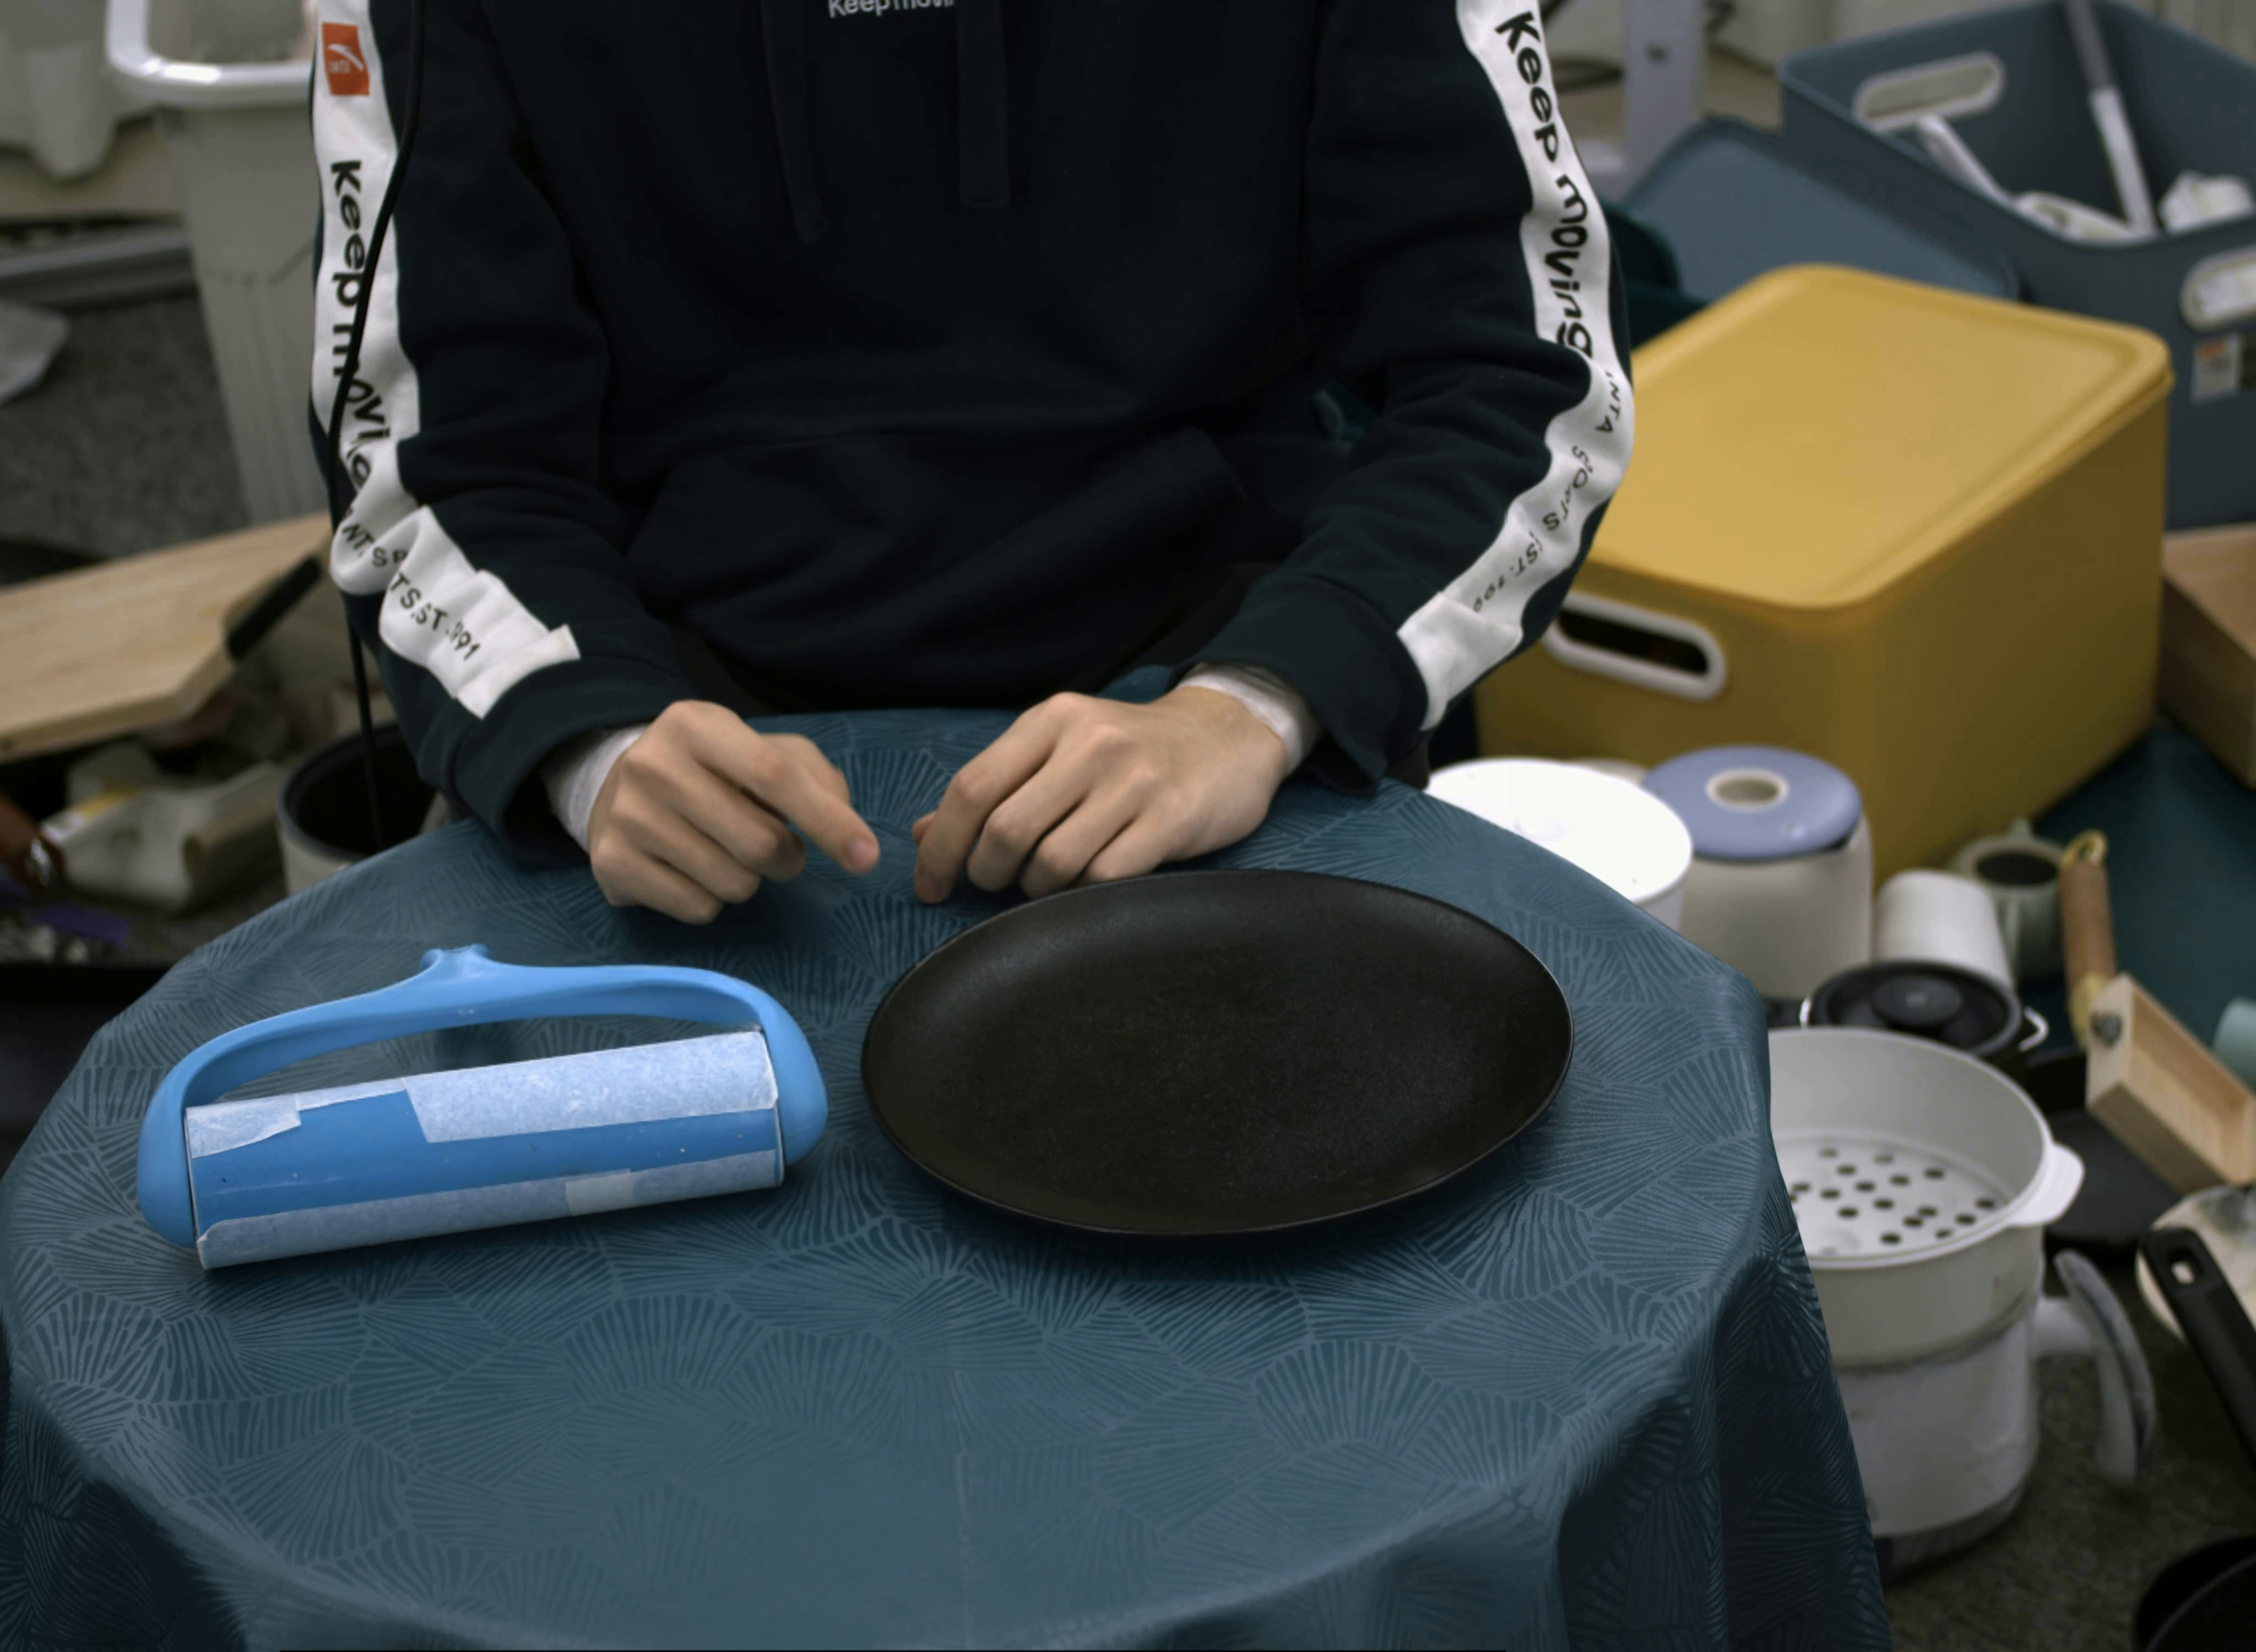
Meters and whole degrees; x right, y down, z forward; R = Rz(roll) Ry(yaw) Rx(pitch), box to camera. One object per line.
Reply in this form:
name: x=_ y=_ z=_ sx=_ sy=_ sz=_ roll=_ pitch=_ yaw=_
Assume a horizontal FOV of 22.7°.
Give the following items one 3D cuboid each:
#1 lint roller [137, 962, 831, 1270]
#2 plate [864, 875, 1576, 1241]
lint roller: x=-0.225 y=0.080 z=1.901 sx=0.229 sy=0.067 sz=0.182 roll=-9 pitch=27 yaw=-11
plate: x=0.032 y=0.082 z=1.908 sx=0.243 sy=0.023 sz=0.248 roll=-2 pitch=27 yaw=1
